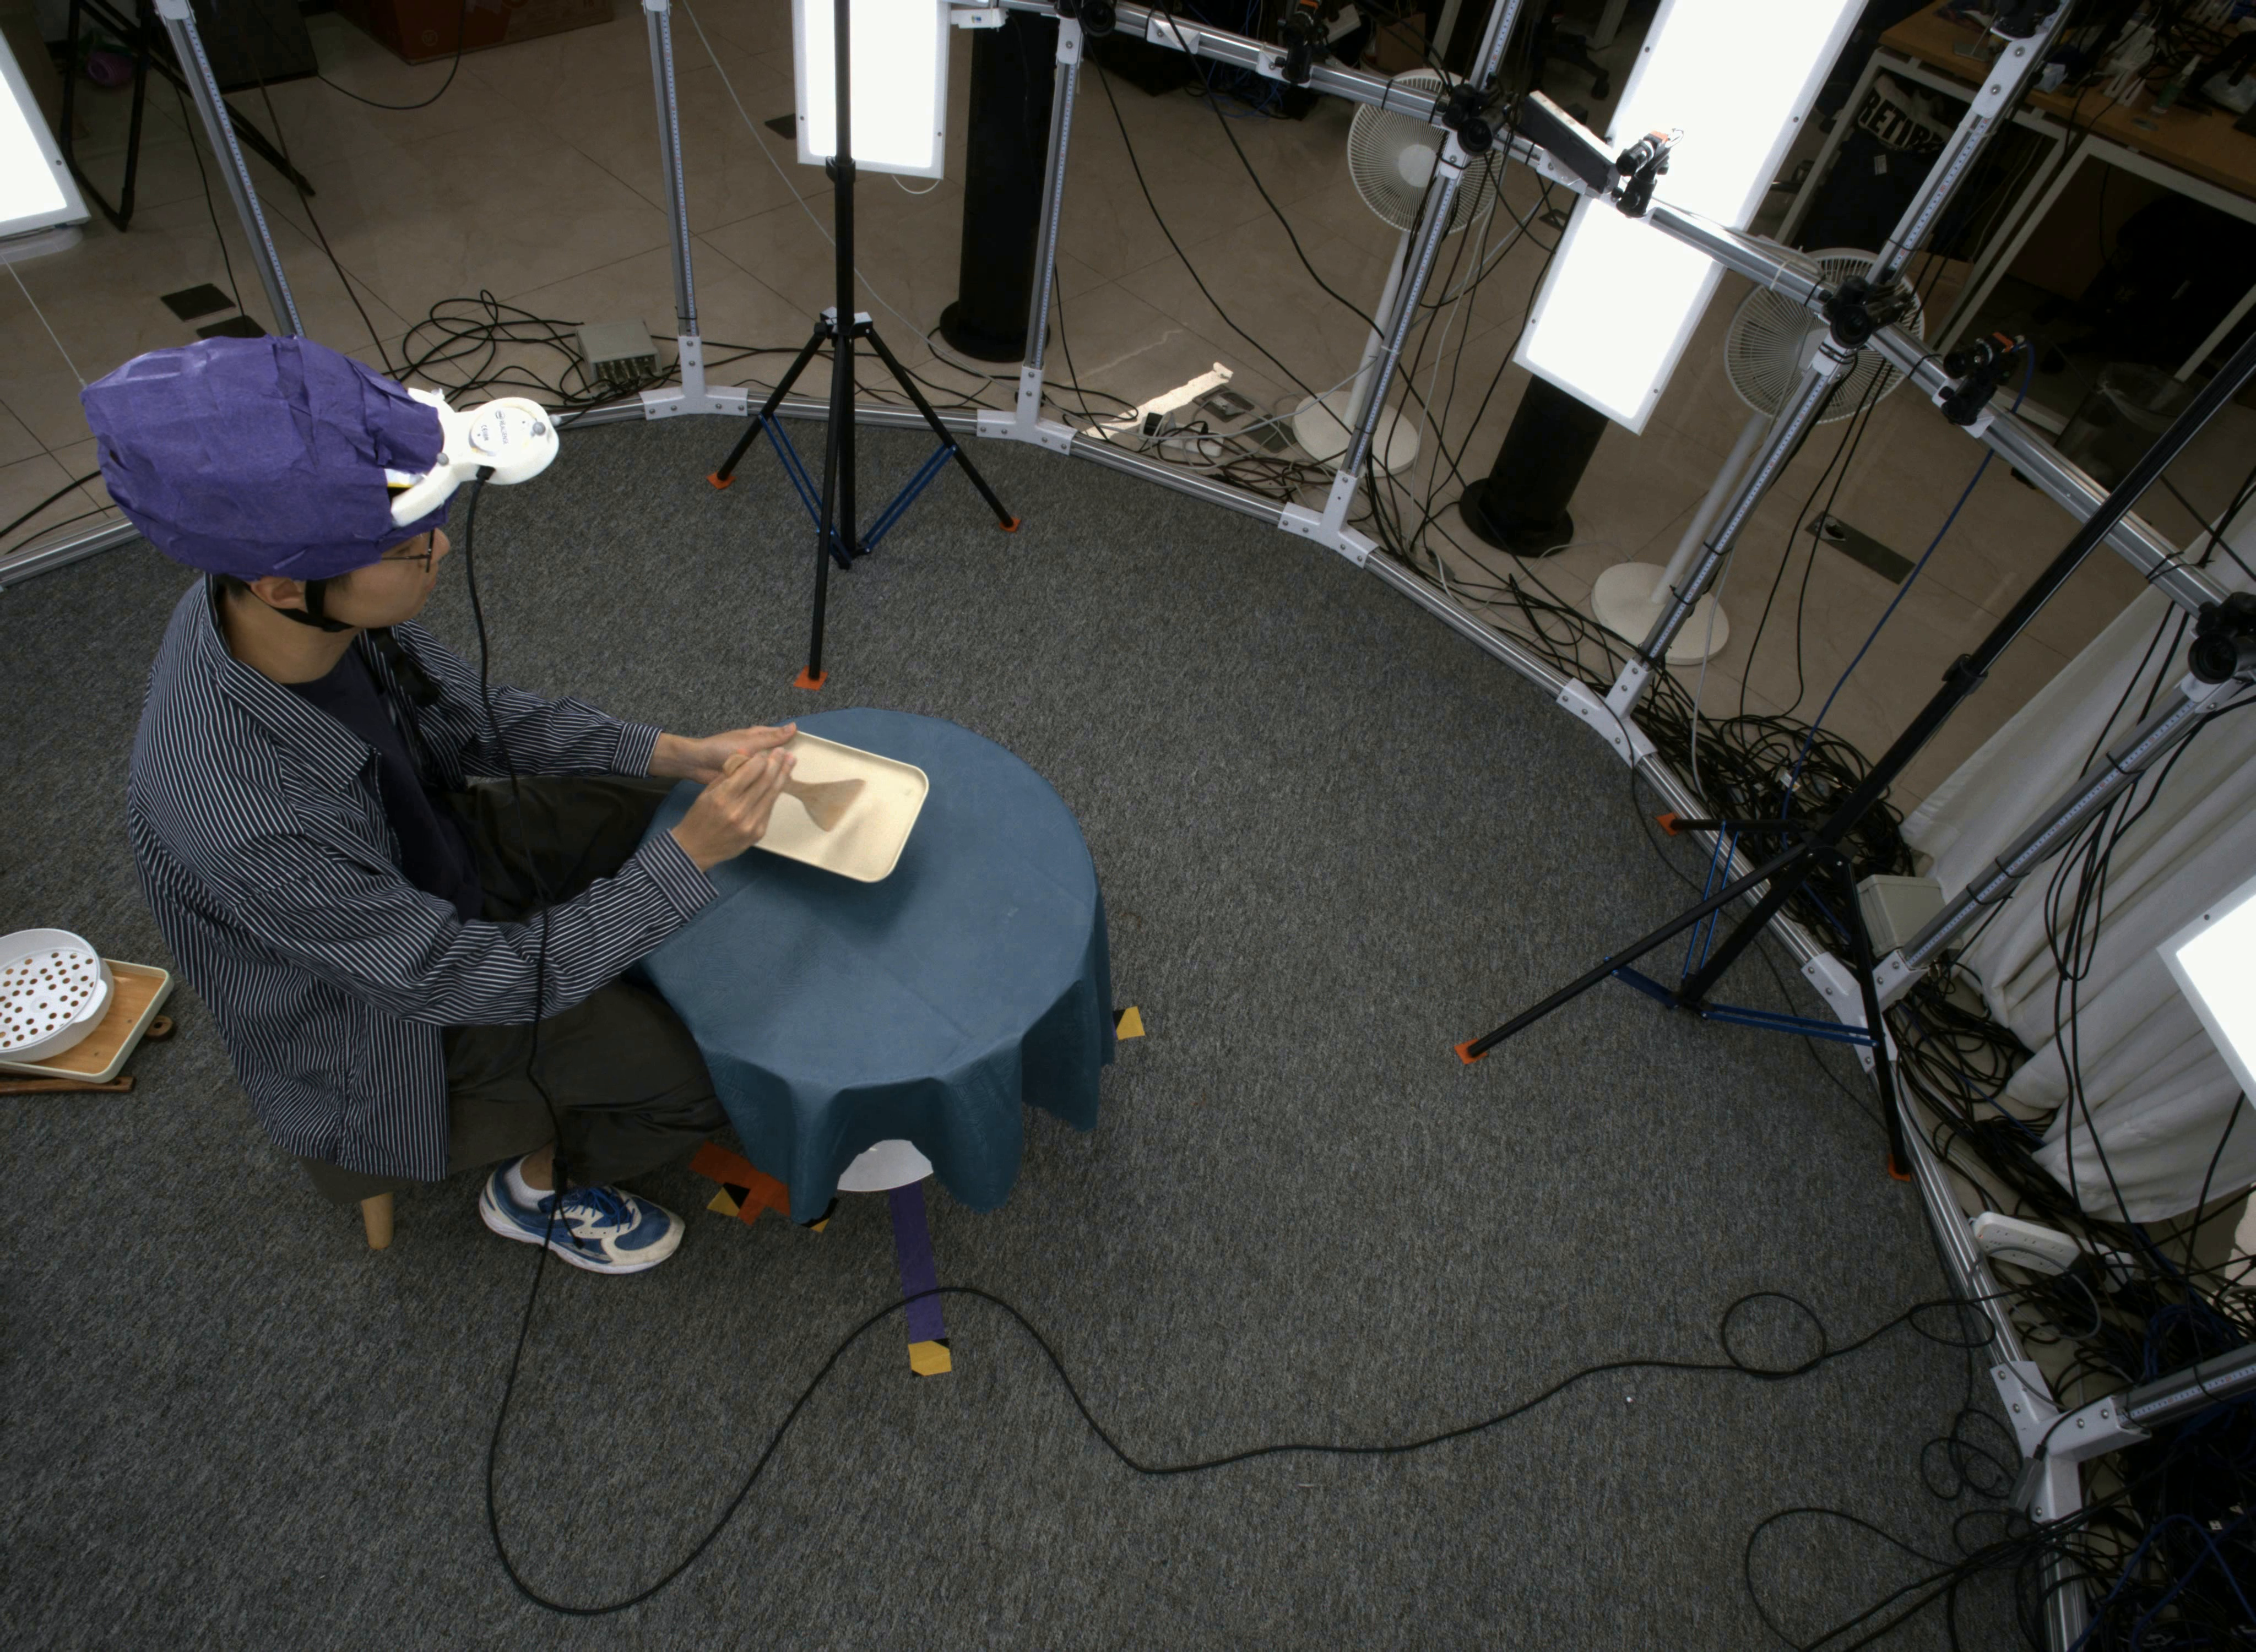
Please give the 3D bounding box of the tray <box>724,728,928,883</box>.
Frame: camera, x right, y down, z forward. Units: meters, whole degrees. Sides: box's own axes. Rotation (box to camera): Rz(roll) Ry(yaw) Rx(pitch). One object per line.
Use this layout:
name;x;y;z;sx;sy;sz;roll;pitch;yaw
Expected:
tray;-0.387;-0.028;1.672;0.235;0.018;0.170;17;67;6

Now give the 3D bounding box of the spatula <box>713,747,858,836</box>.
spatula;-0.394;-0.046;1.494;0.016;0.333;0.080;31;88;16
